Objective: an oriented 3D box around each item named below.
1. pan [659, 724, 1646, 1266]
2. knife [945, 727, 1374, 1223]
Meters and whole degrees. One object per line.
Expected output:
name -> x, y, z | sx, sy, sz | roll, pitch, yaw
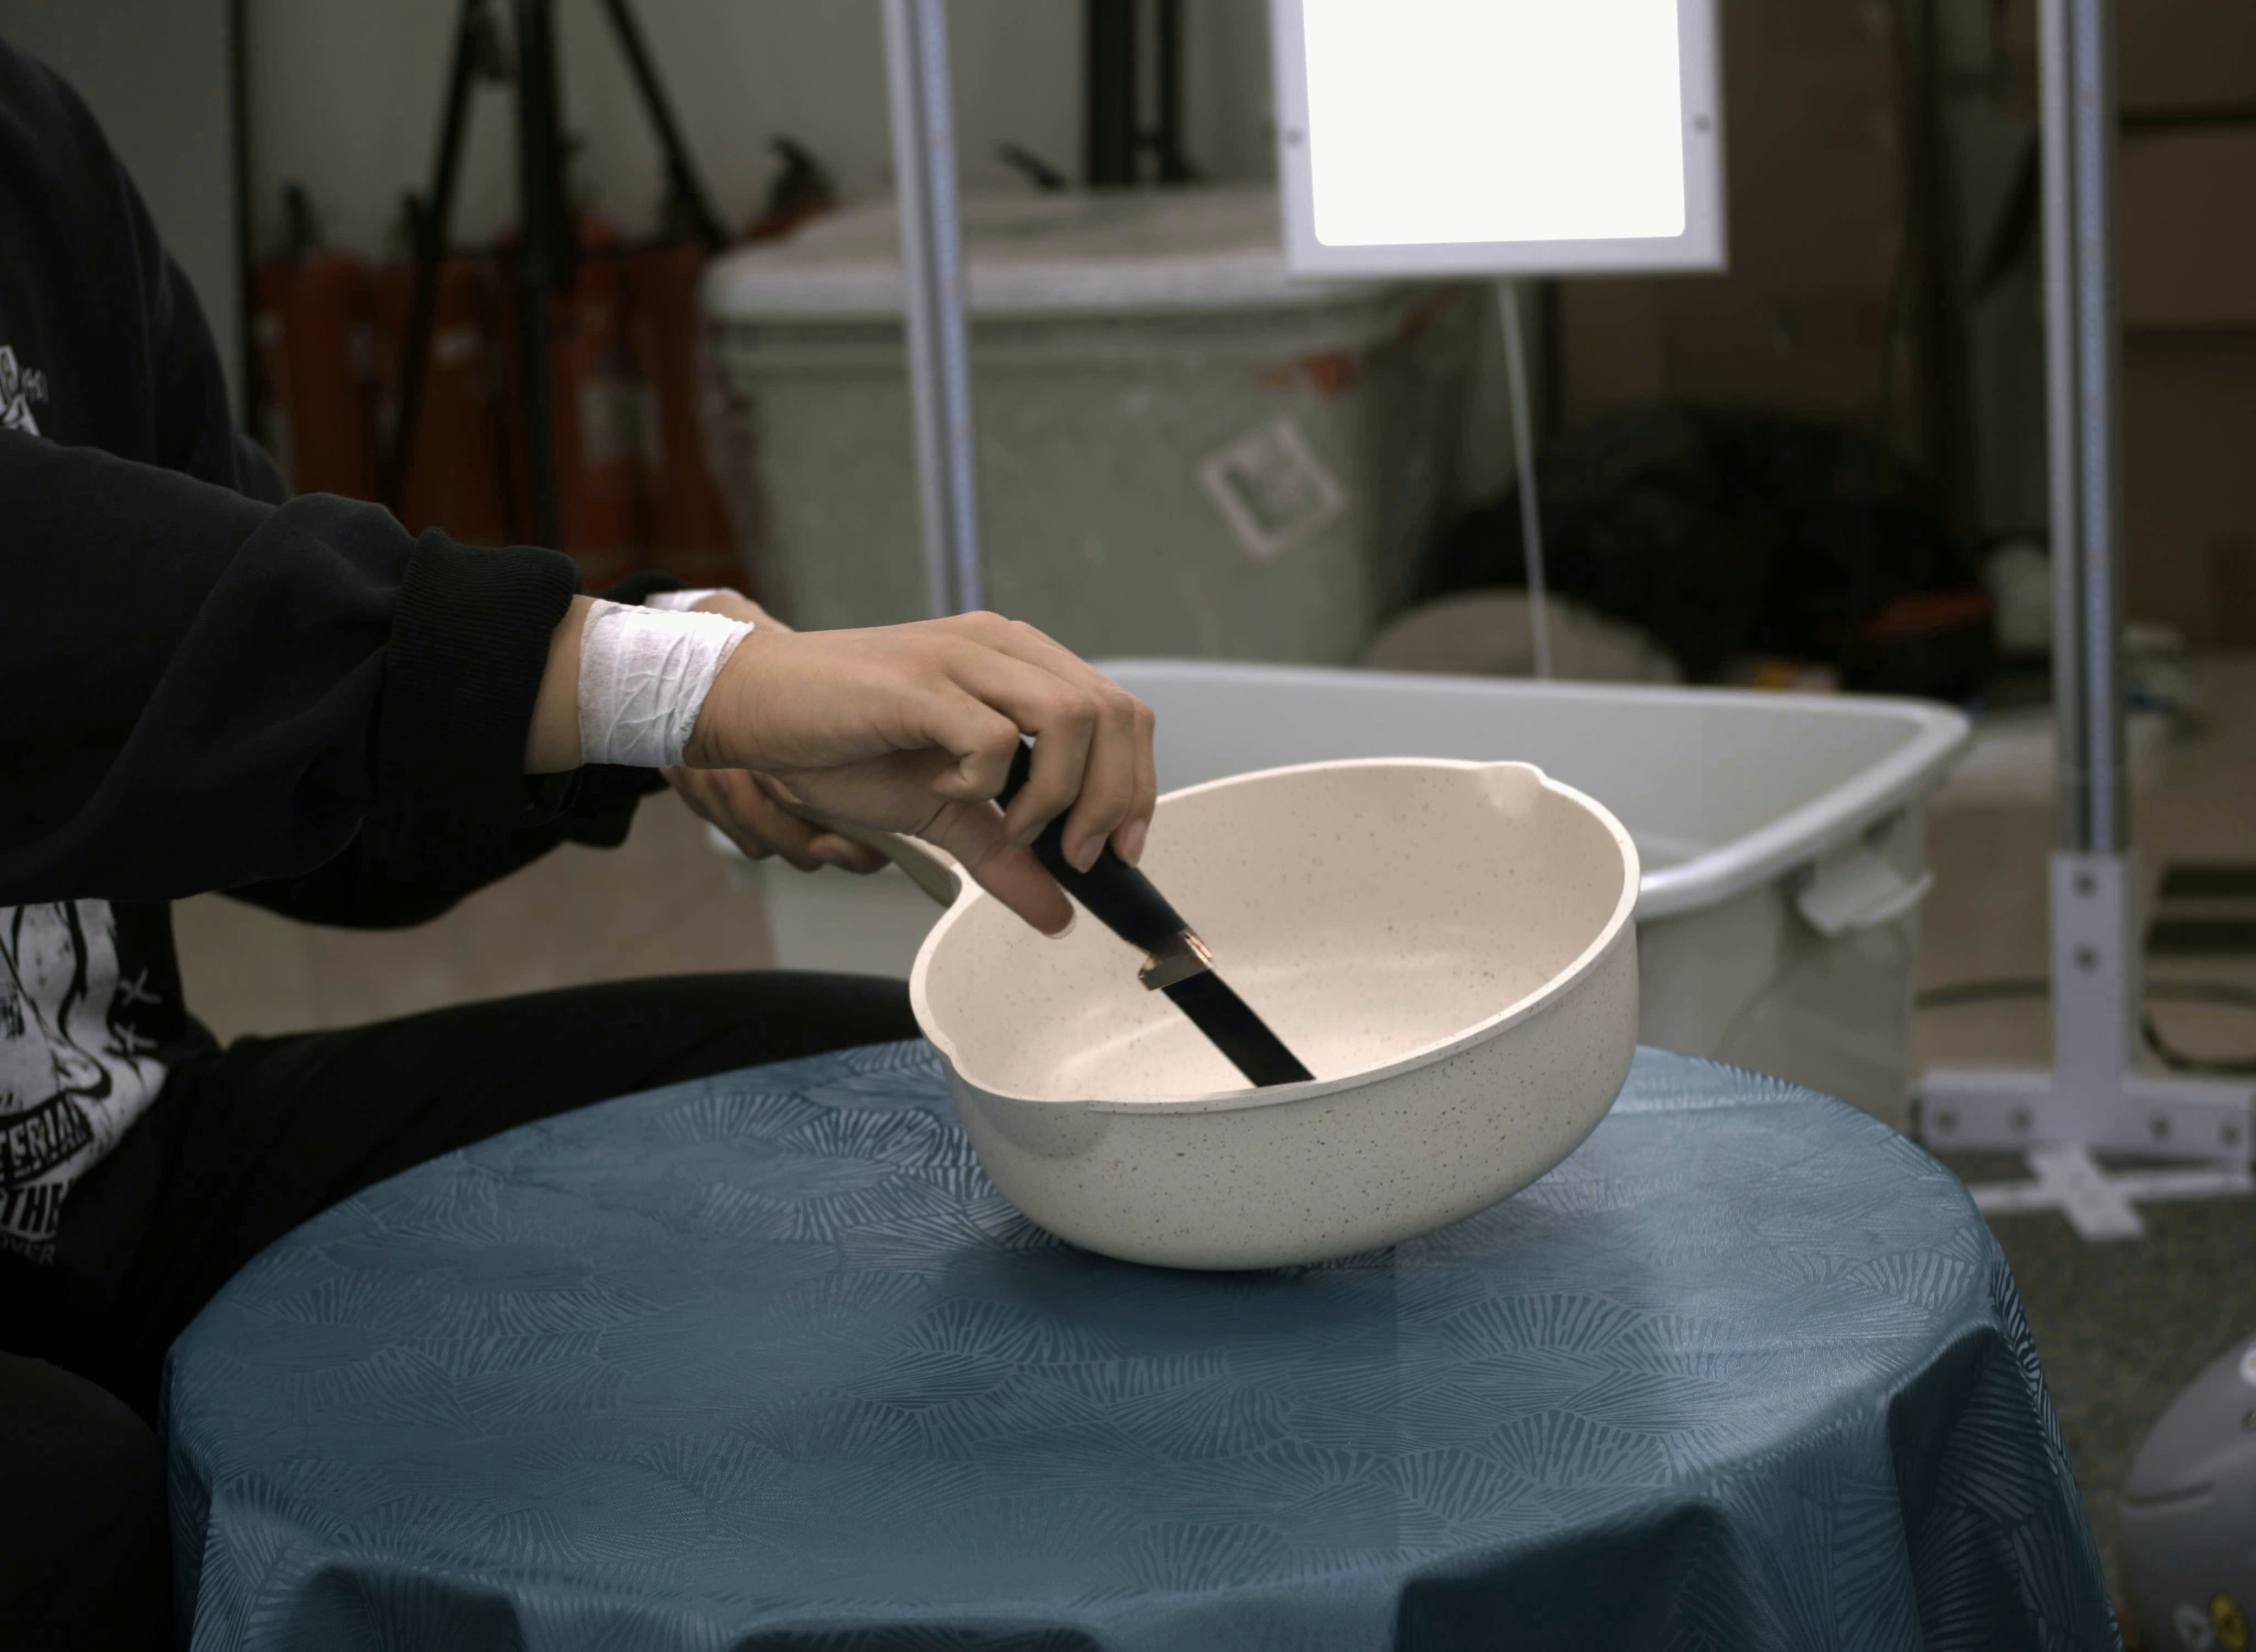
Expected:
pan -> -0.007, 0.043, 1.938 | 0.257, 0.102, 0.444 | -33, 30, -34
knife -> 0.015, 0.049, 1.731 | 0.026, 0.223, 0.017 | -30, 26, 25
